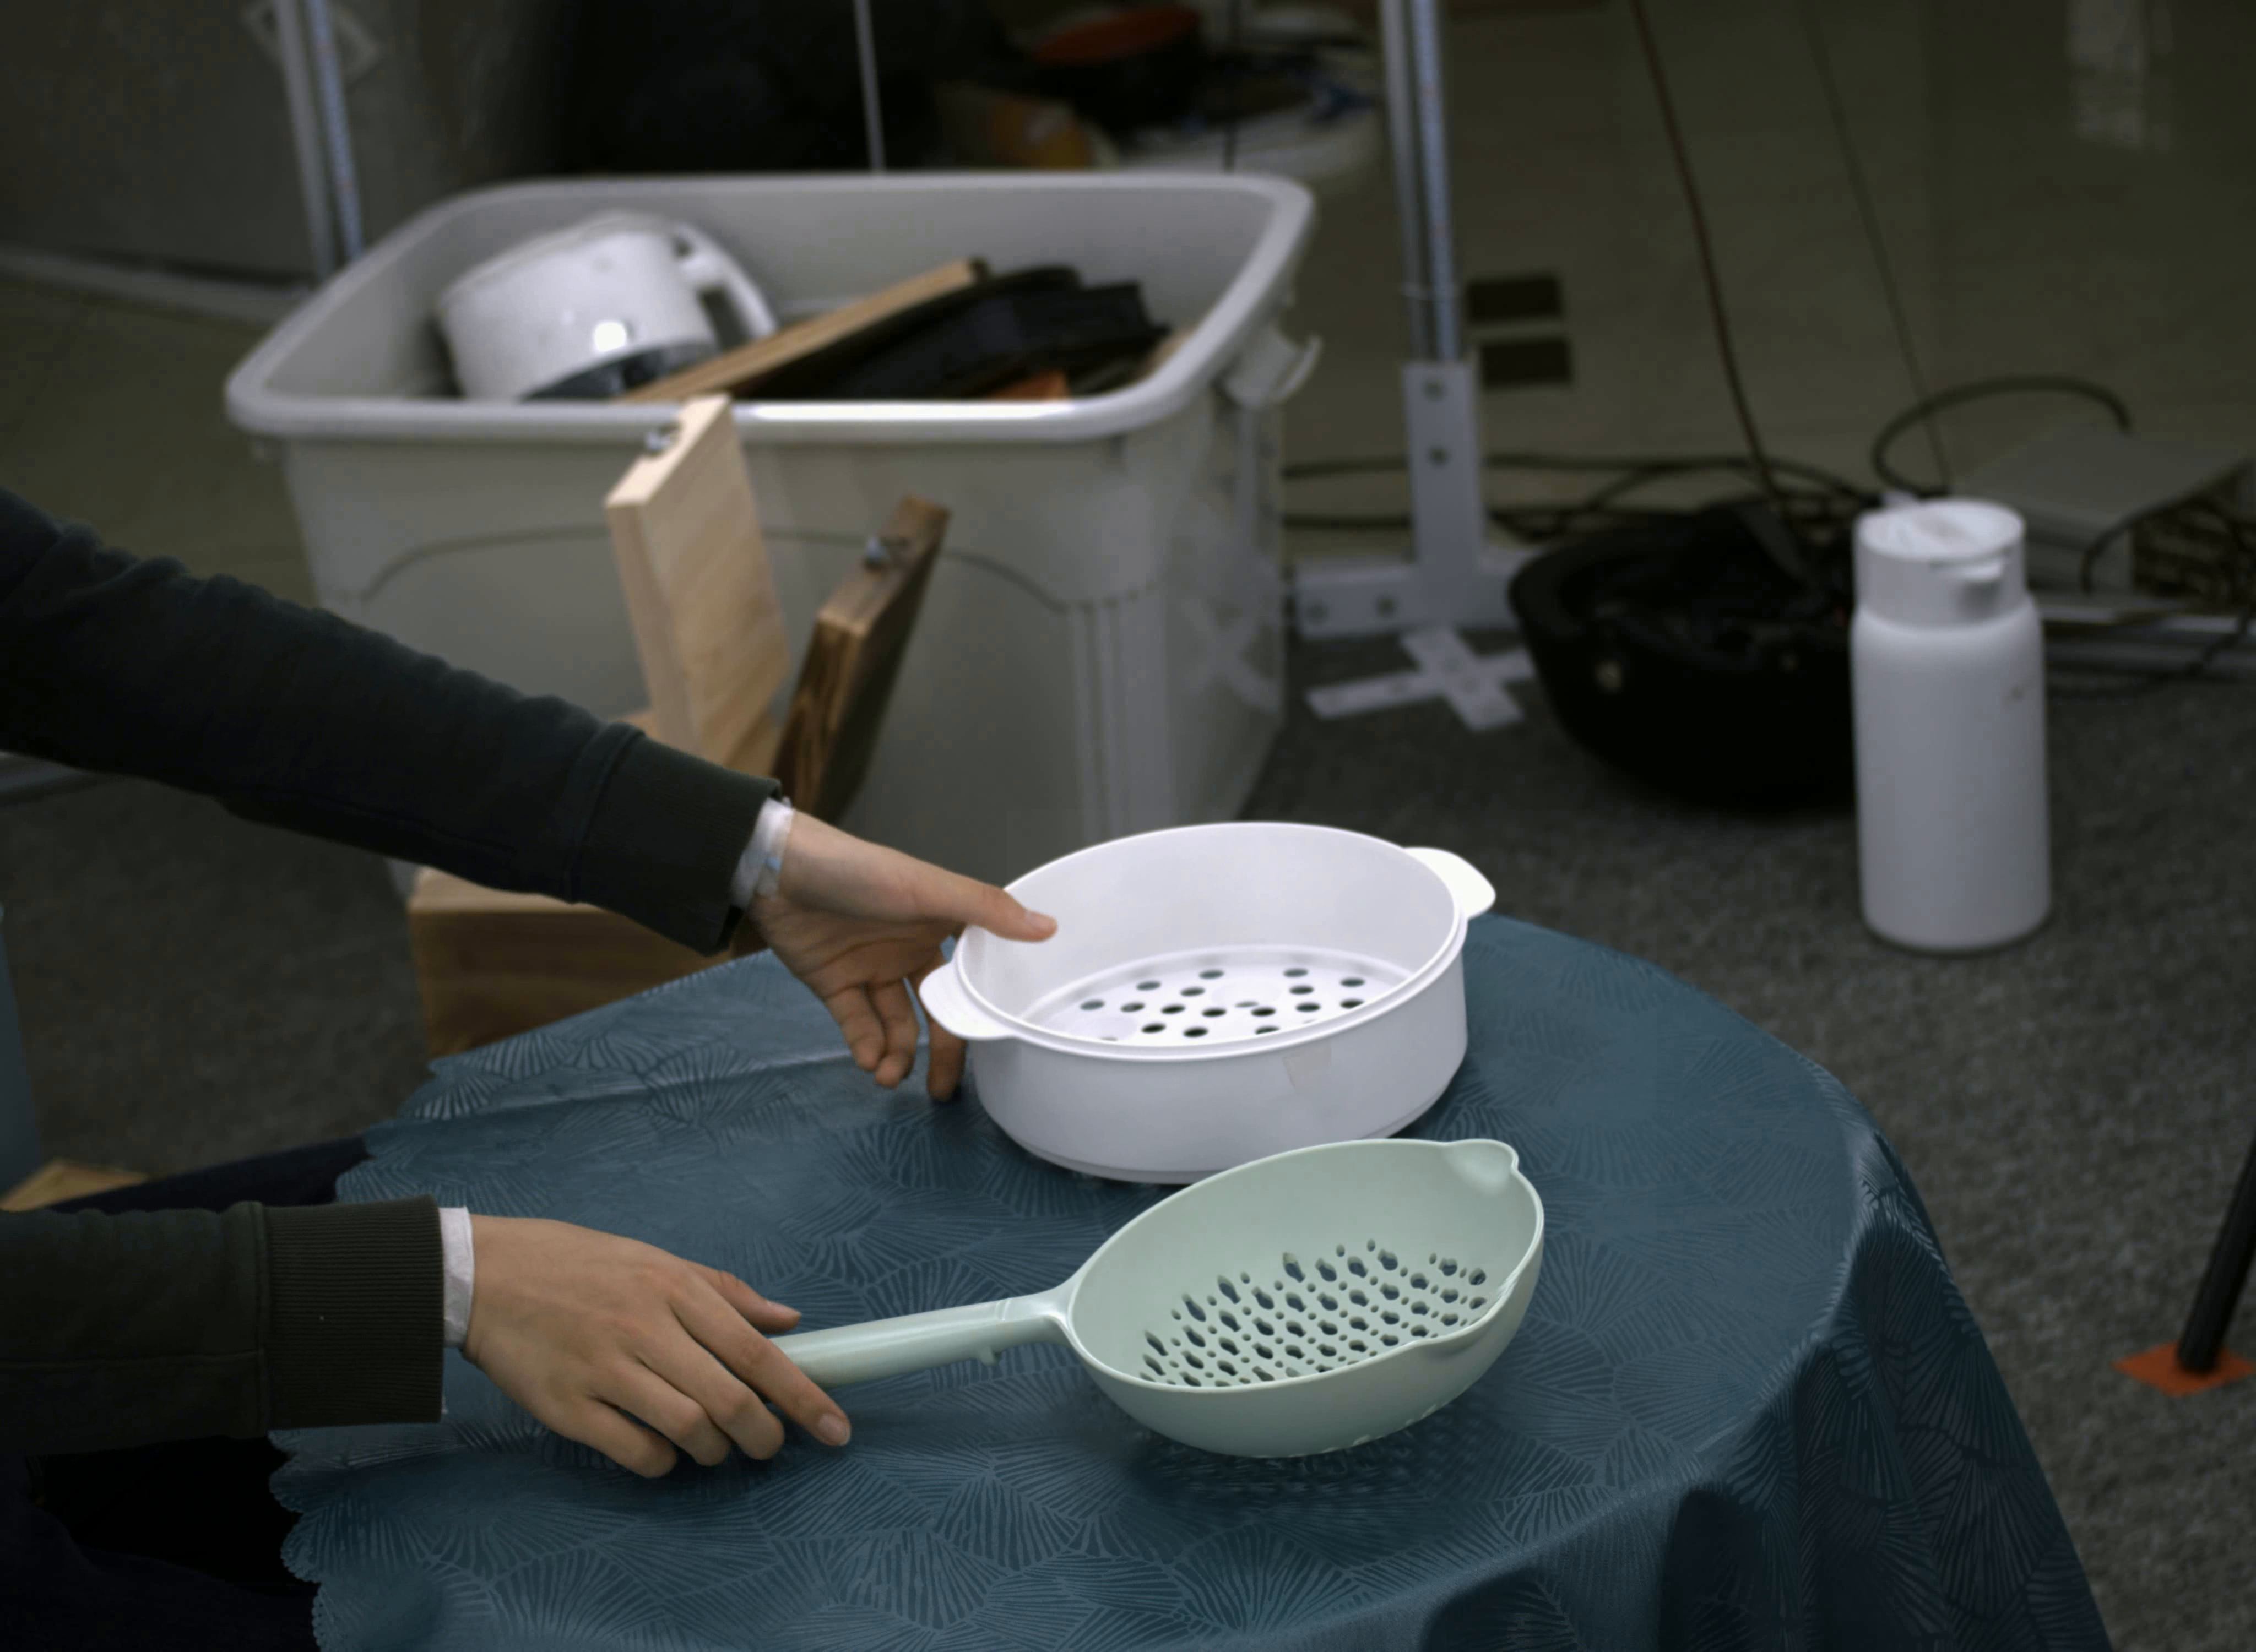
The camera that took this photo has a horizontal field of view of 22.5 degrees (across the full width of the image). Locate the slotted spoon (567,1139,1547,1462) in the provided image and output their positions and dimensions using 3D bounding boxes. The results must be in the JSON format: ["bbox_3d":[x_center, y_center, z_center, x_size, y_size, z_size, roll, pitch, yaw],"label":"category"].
[{"bbox_3d":[-0.029,0.179,1.998,0.358,0.076,0.167,-2,25,9],"label":"slotted spoon"}]

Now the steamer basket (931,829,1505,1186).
[{"bbox_3d":[0.039,0.072,2.212,0.230,0.070,0.199,-15,25,-17],"label":"steamer basket"}]
